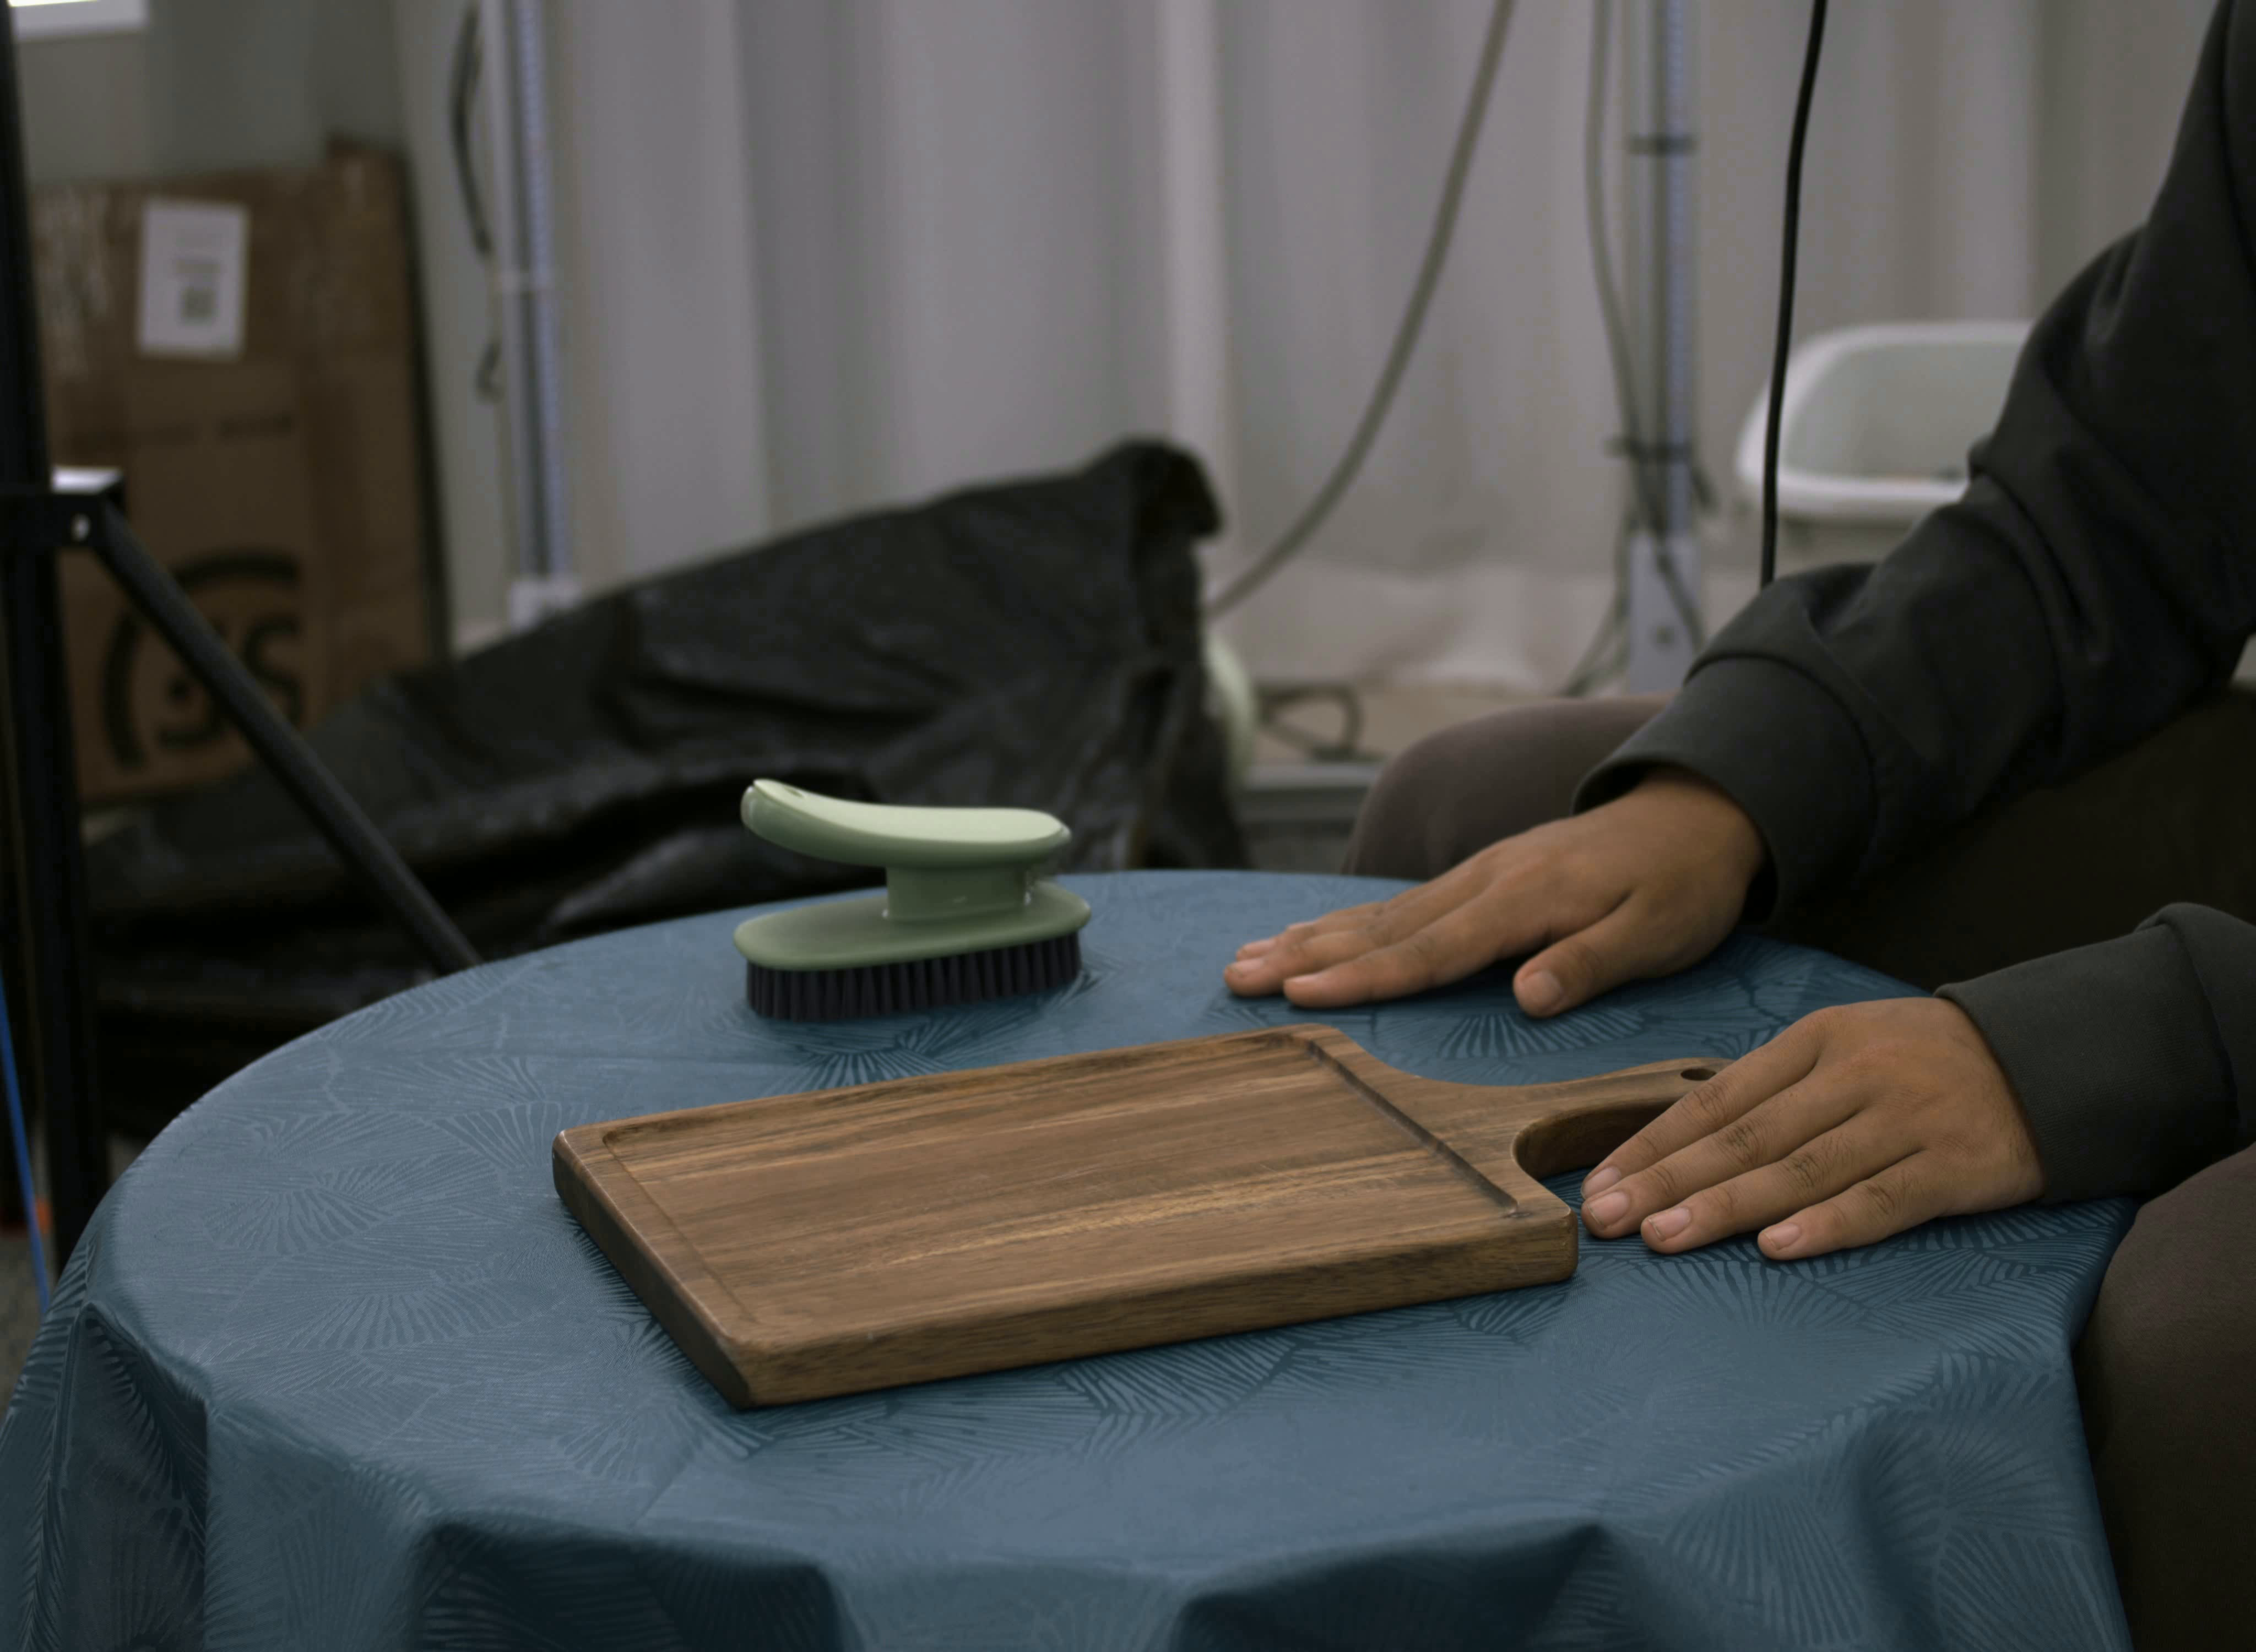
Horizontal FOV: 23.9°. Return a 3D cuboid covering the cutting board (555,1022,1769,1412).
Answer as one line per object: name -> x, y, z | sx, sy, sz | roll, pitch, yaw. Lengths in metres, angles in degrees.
cutting board -> 0.026, 0.102, 1.535 | 0.346, 0.023, 0.204 | -7, 17, -17

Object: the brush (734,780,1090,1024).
brush -> -0.072, 0.029, 1.752 | 0.120, 0.076, 0.060 | 7, 11, -22
